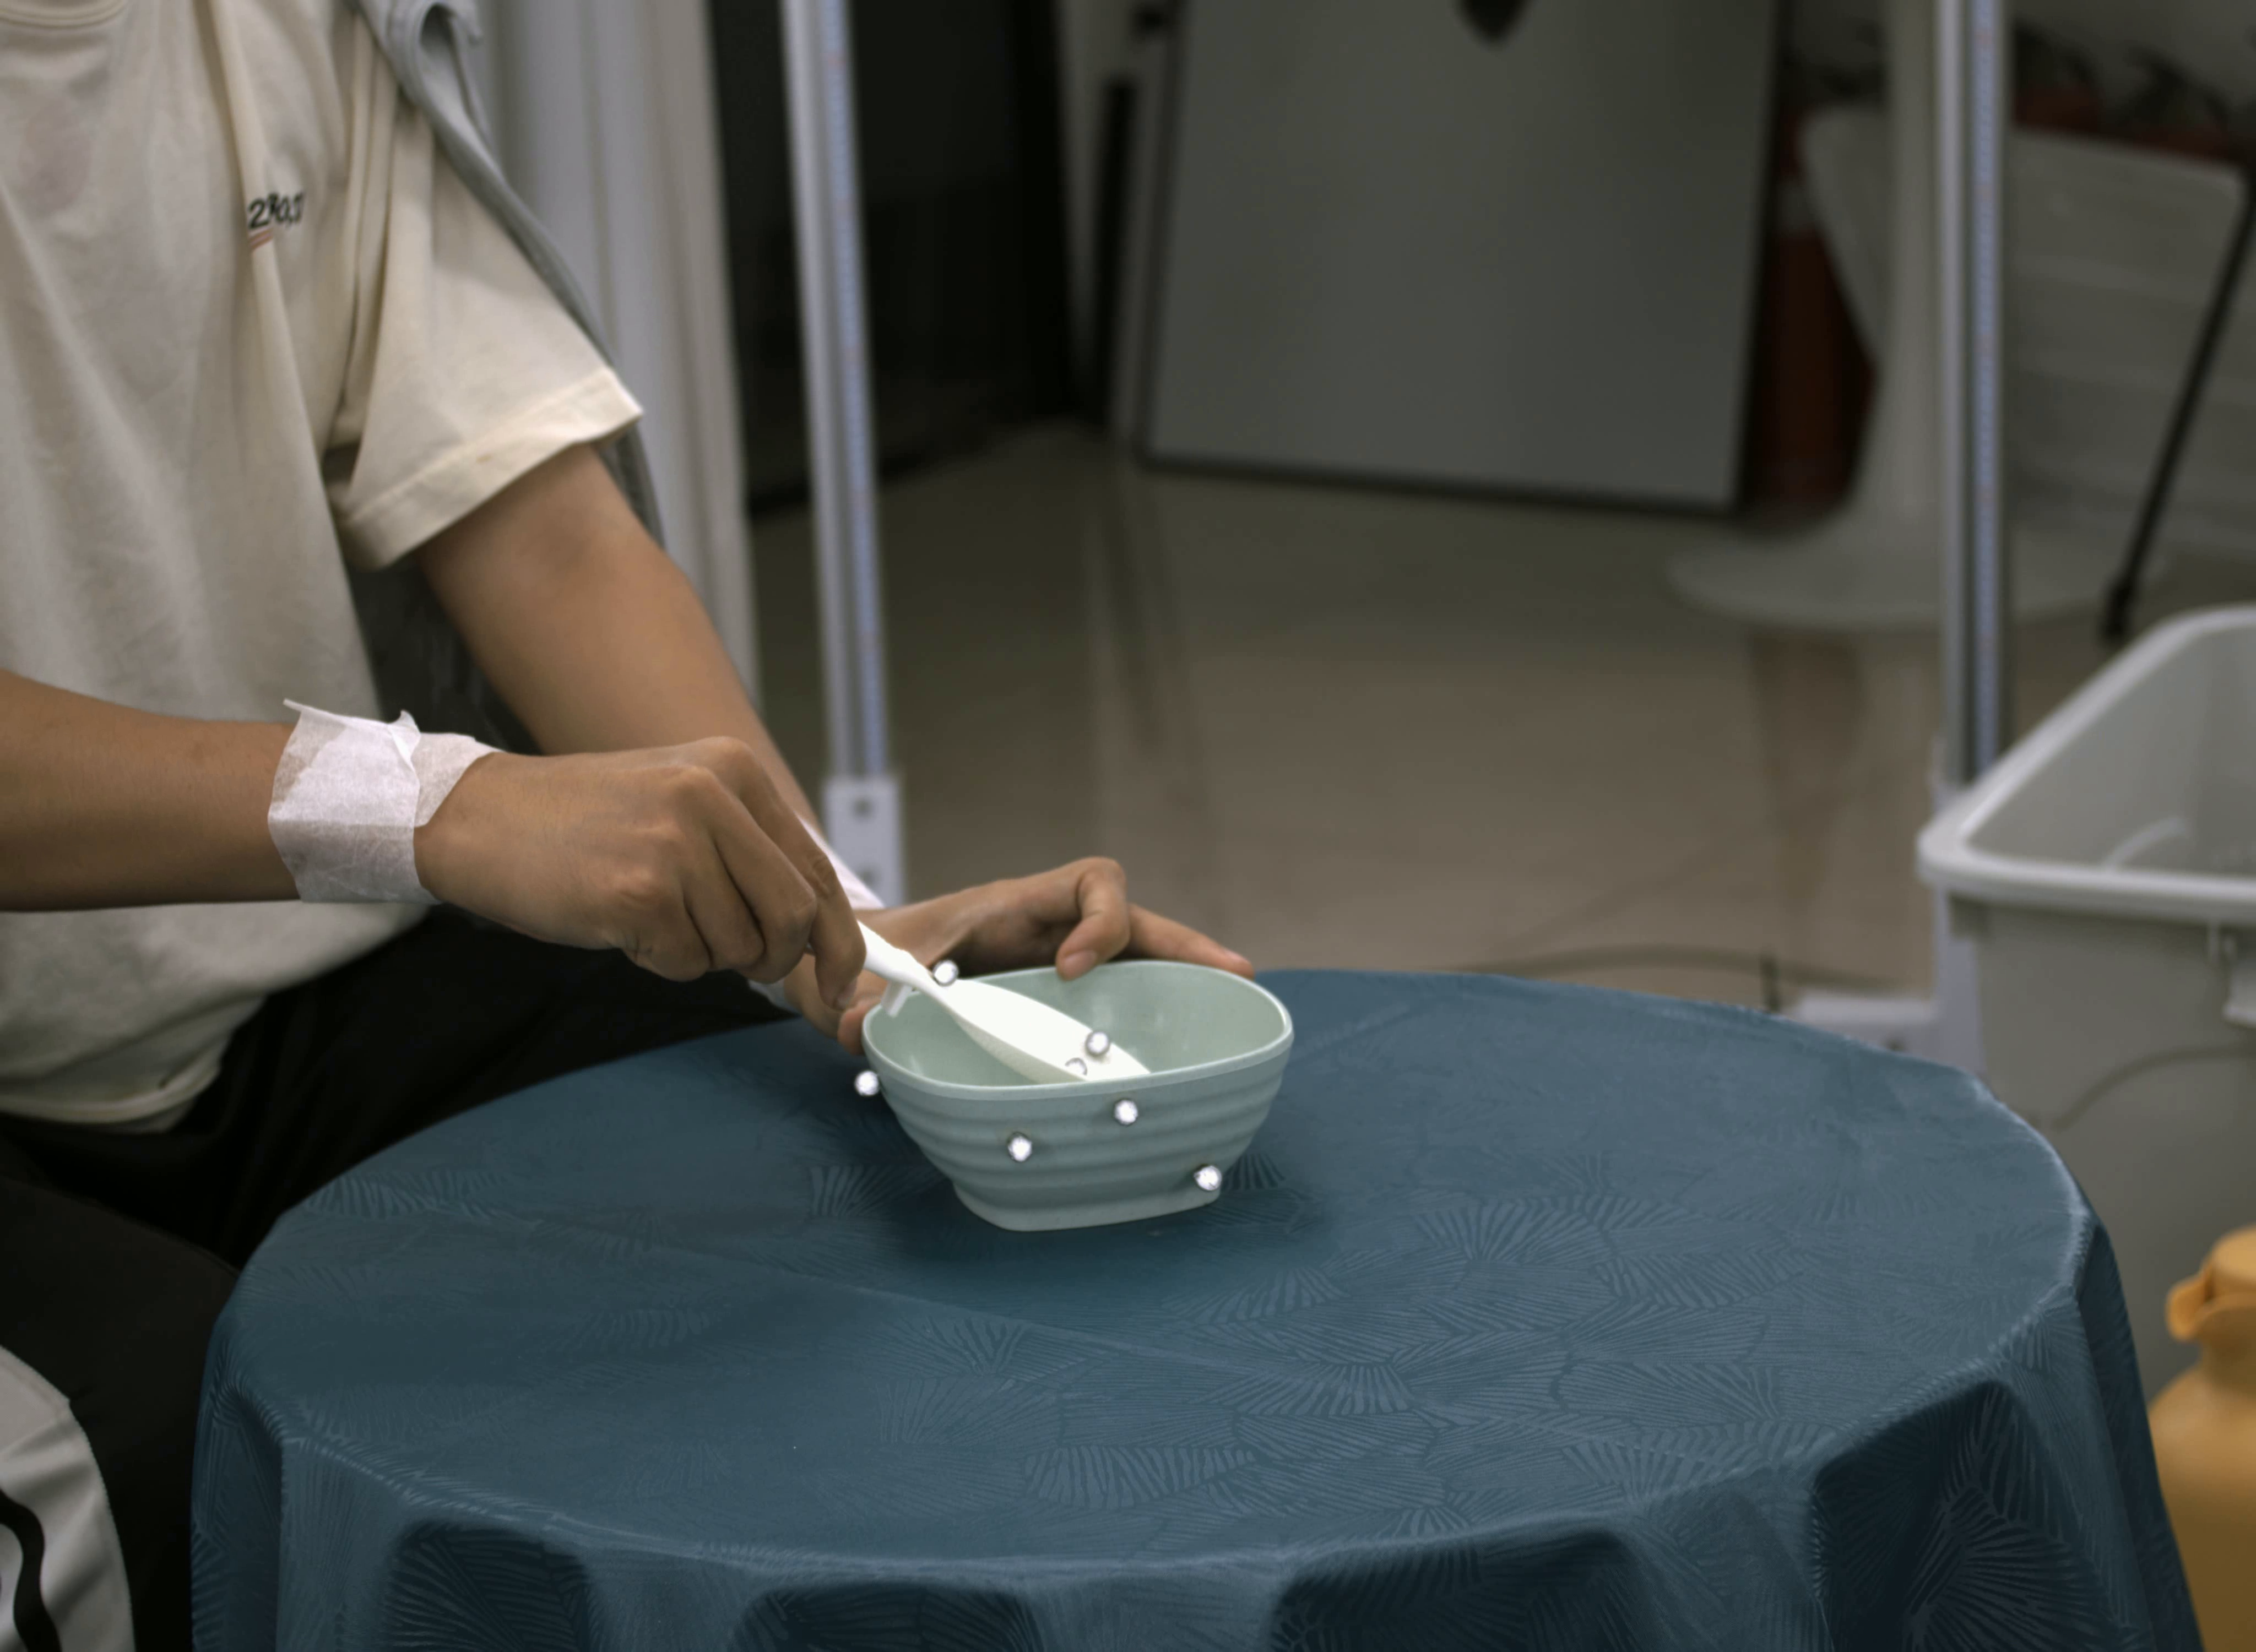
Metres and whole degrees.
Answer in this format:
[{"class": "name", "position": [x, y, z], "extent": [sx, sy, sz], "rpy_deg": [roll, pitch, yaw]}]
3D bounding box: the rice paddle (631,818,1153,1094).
[{"class": "rice paddle", "position": [-0.067, 0.050, 1.755], "extent": [0.201, 0.029, 0.069], "rpy_deg": [26, 12, -24]}]

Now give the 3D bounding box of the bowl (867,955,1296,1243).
[{"class": "bowl", "position": [-0.014, 0.093, 1.775], "extent": [0.149, 0.059, 0.152], "rpy_deg": [-4, 16, 0]}]
